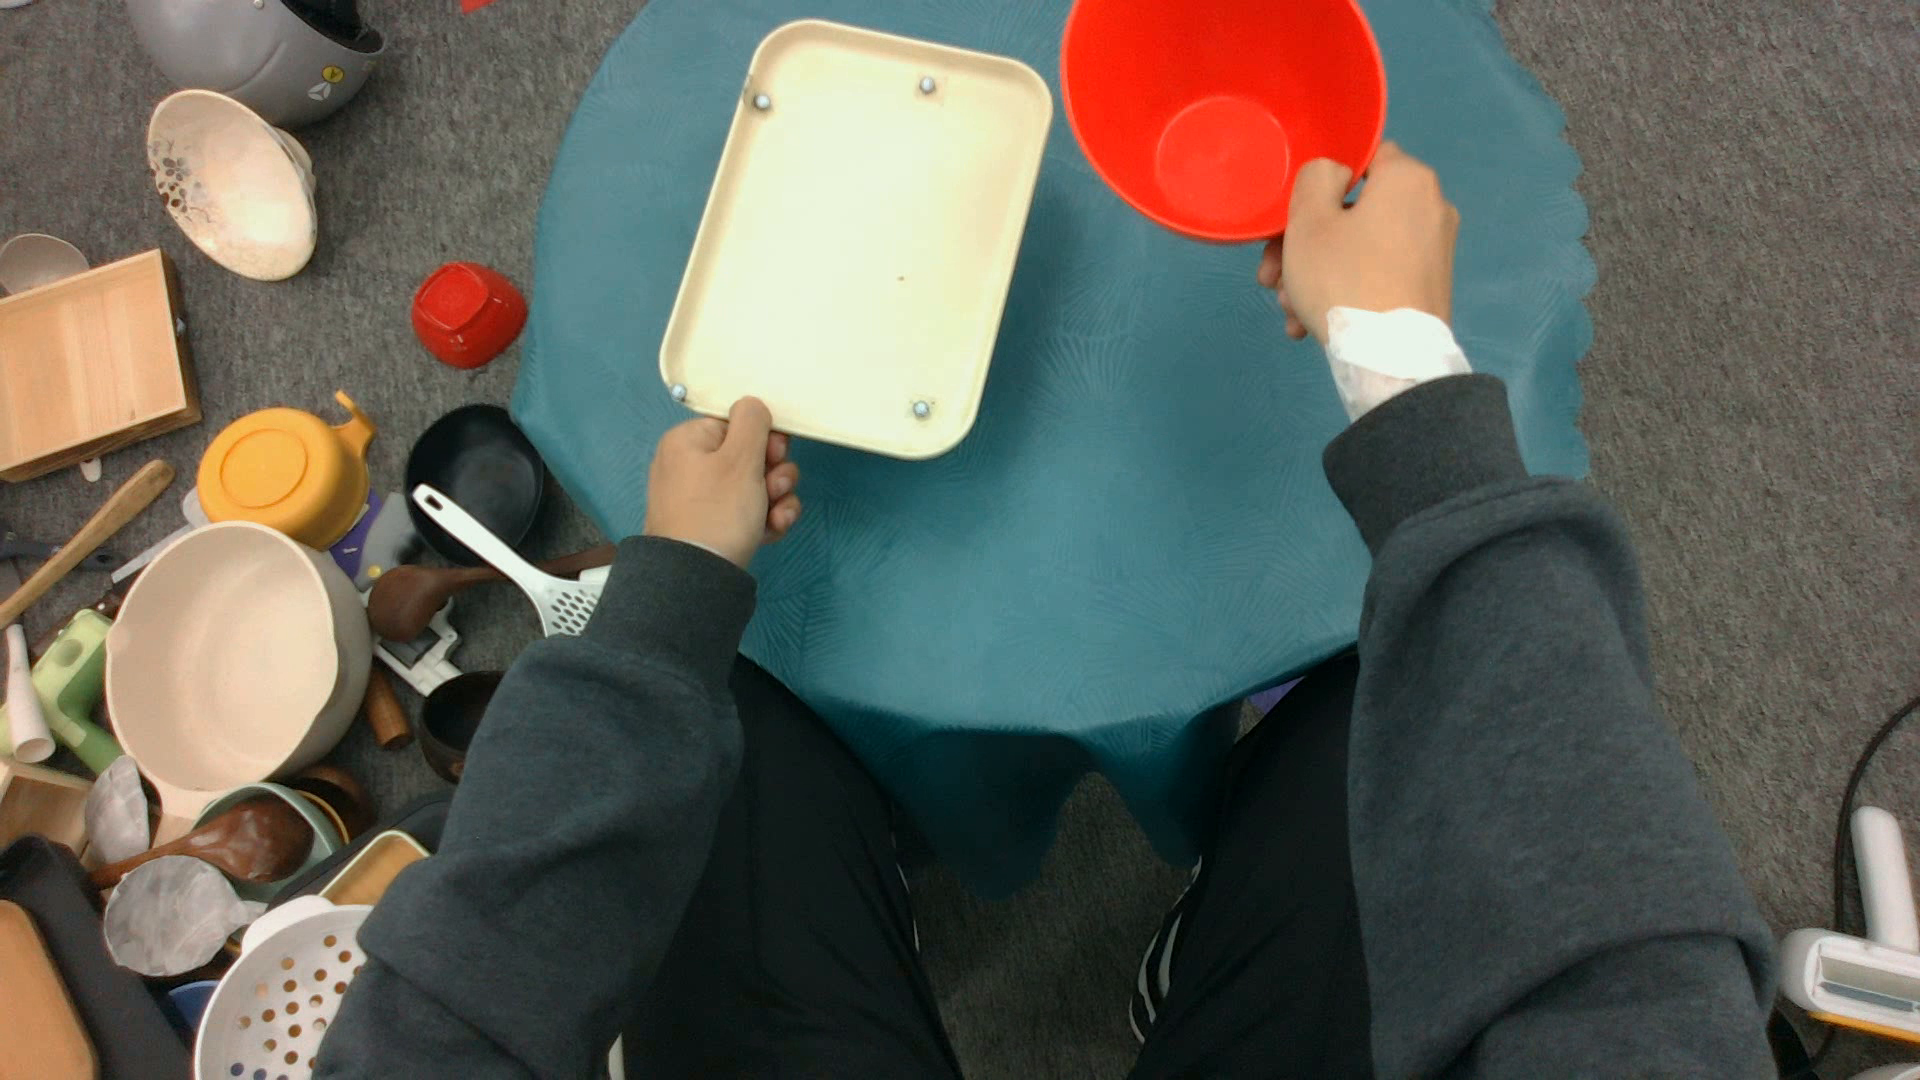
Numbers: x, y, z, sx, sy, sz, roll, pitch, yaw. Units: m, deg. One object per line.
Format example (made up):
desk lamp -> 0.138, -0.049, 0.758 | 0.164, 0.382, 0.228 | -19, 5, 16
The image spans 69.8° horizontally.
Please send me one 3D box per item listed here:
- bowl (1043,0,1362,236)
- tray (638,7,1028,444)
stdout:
bowl -> 0.113, -0.206, 0.667 | 0.148, 0.104, 0.148 | 0, 80, 2
tray -> -0.065, -0.172, 0.741 | 0.171, 0.017, 0.240 | 12, 75, 3
